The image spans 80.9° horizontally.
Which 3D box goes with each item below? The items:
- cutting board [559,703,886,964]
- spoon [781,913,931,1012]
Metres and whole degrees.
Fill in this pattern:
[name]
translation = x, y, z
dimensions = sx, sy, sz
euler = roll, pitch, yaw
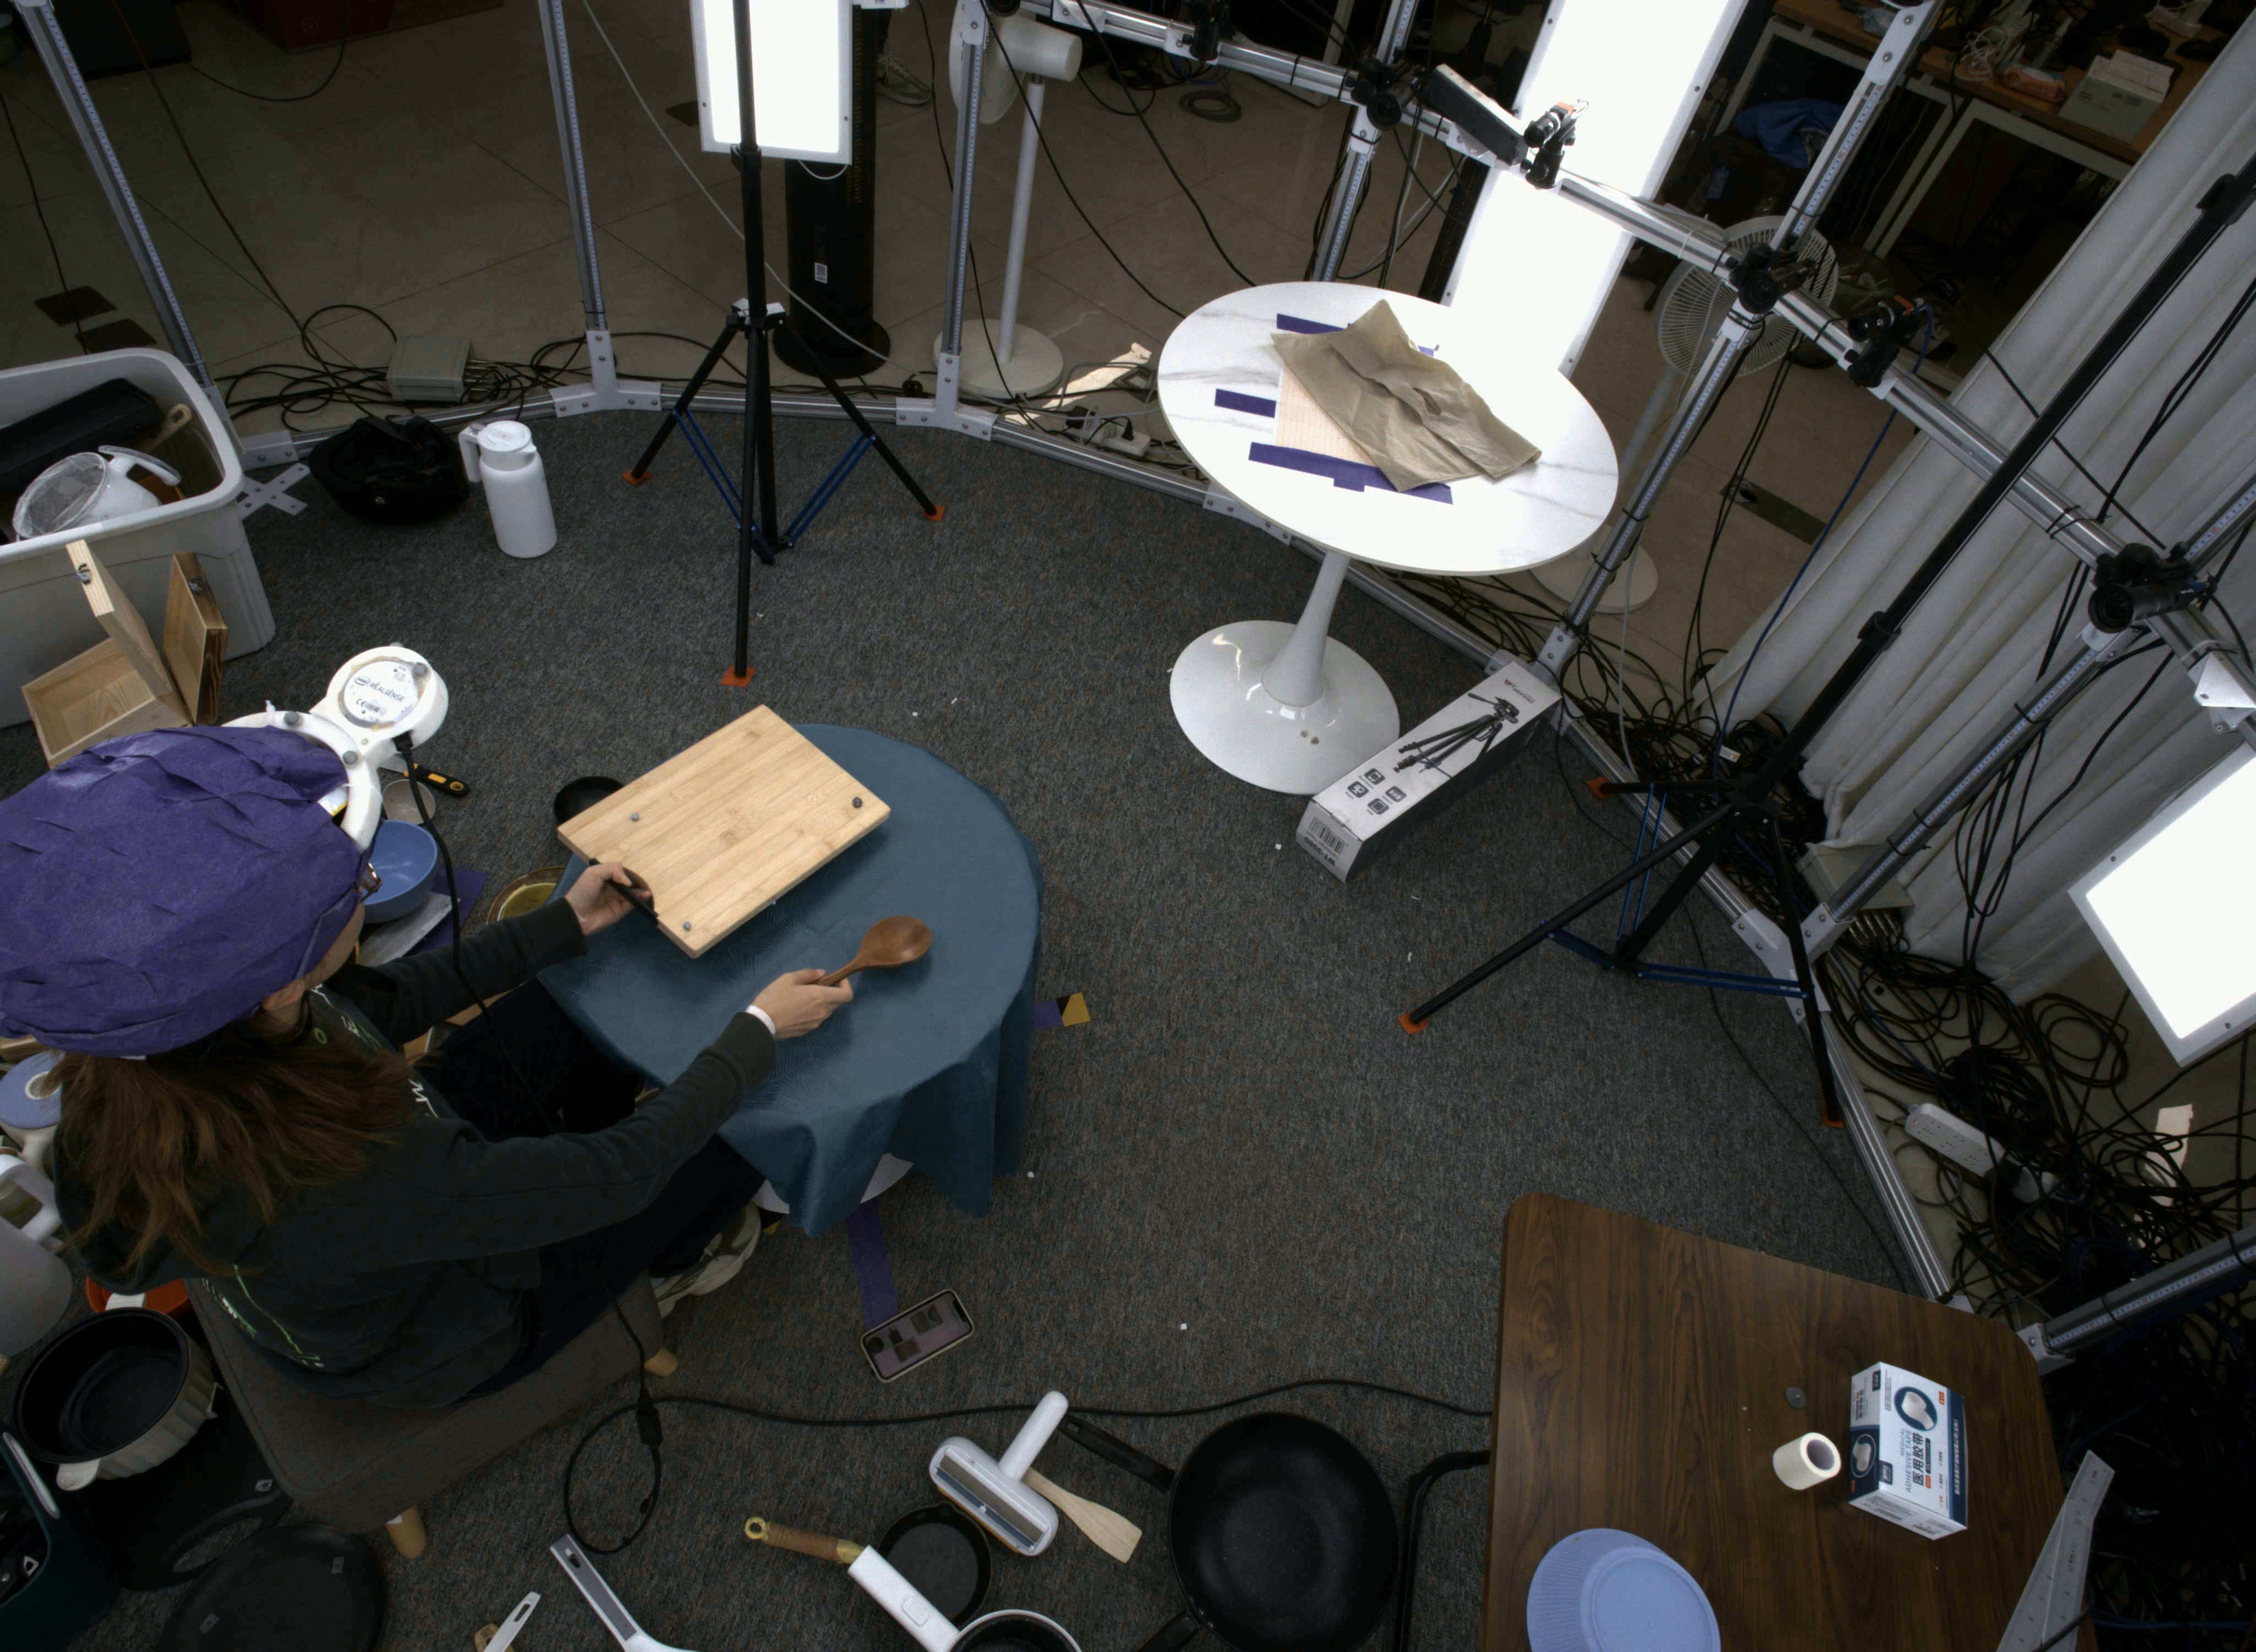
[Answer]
[cutting board]
translation = -0.507, -0.003, 1.627
dimensions = 0.247, 0.024, 0.348
euler = 38, 48, 9
[spoon]
translation = -0.330, 0.166, 1.577
dimensions = 0.074, 0.017, 0.217
euler = 42, 45, 19
